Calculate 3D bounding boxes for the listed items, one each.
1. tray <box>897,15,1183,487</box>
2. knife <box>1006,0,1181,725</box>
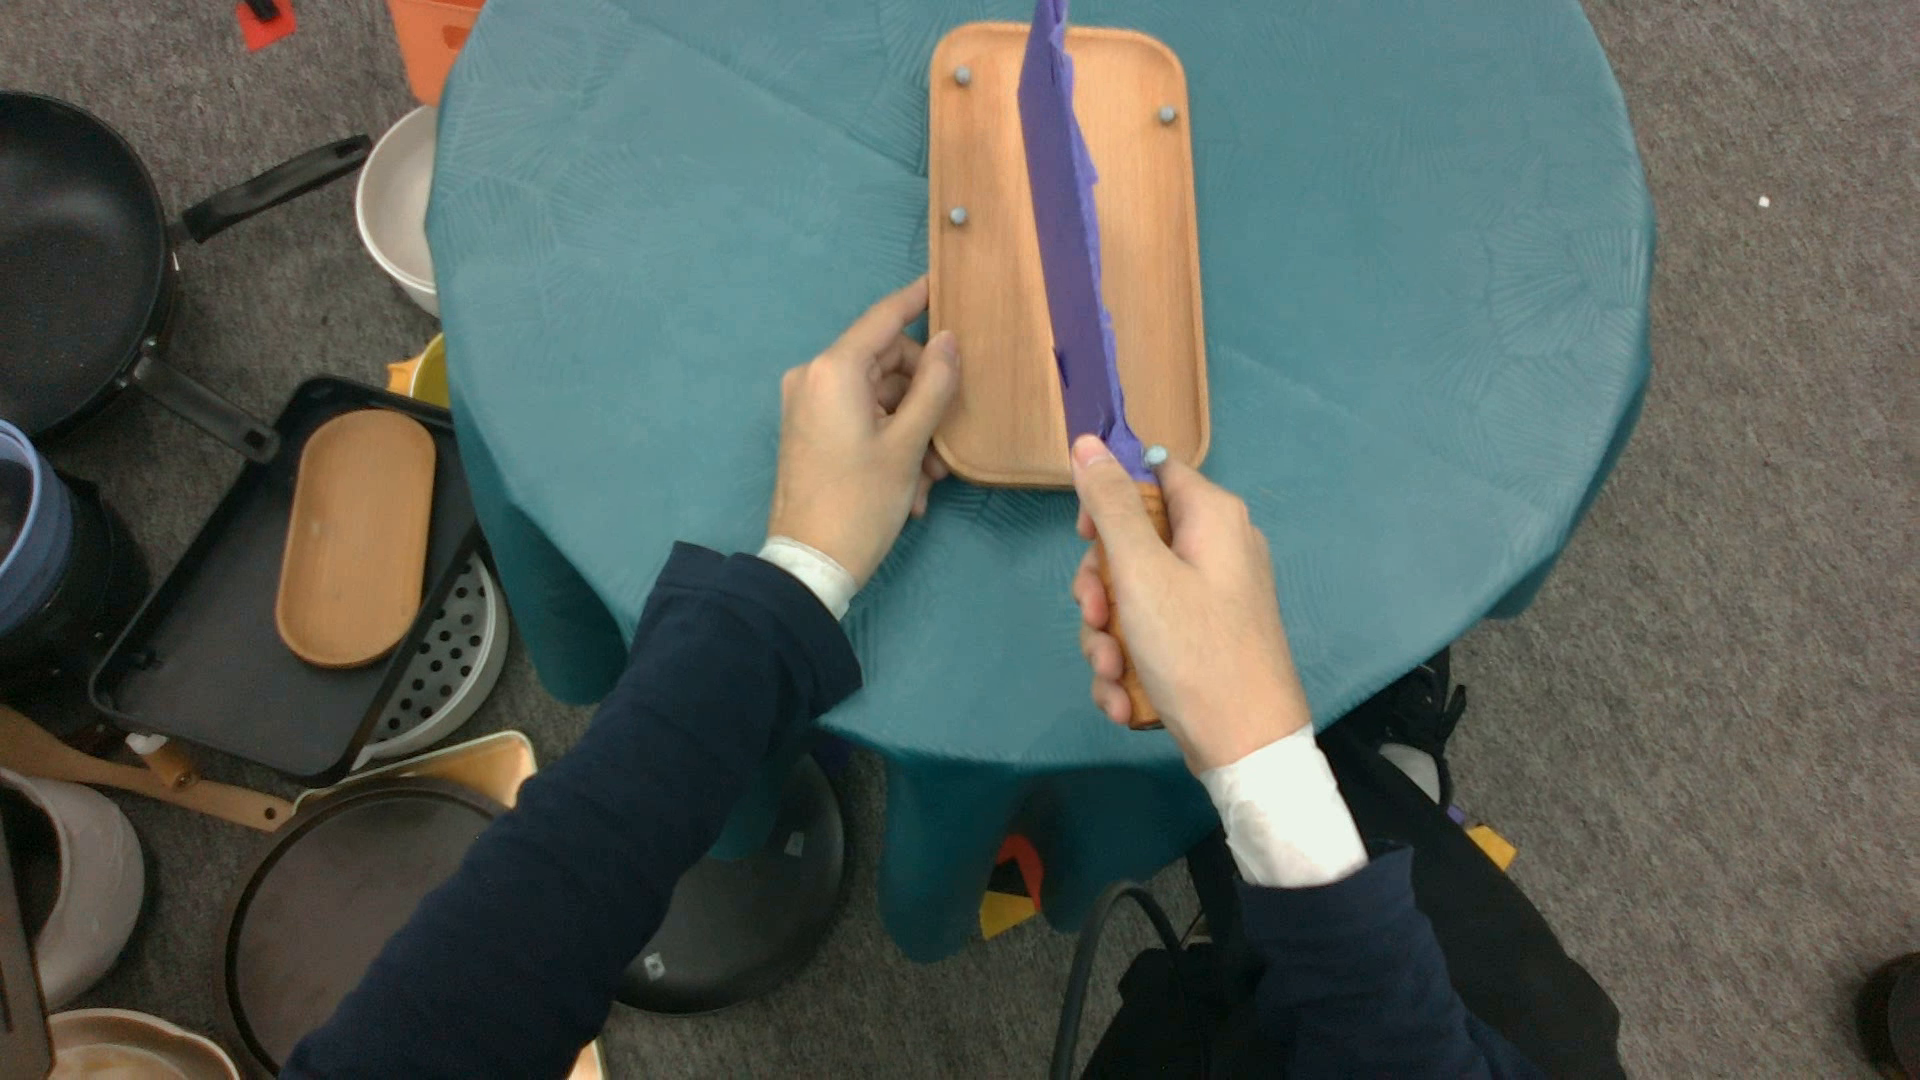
[{"bbox_3d":[0.038,-0.141,0.650,0.130,0.023,0.251,4,69,-3],"label":"tray"},{"bbox_3d":[0.049,-0.078,0.566,0.032,0.103,0.316,-4,75,-6],"label":"knife"}]
